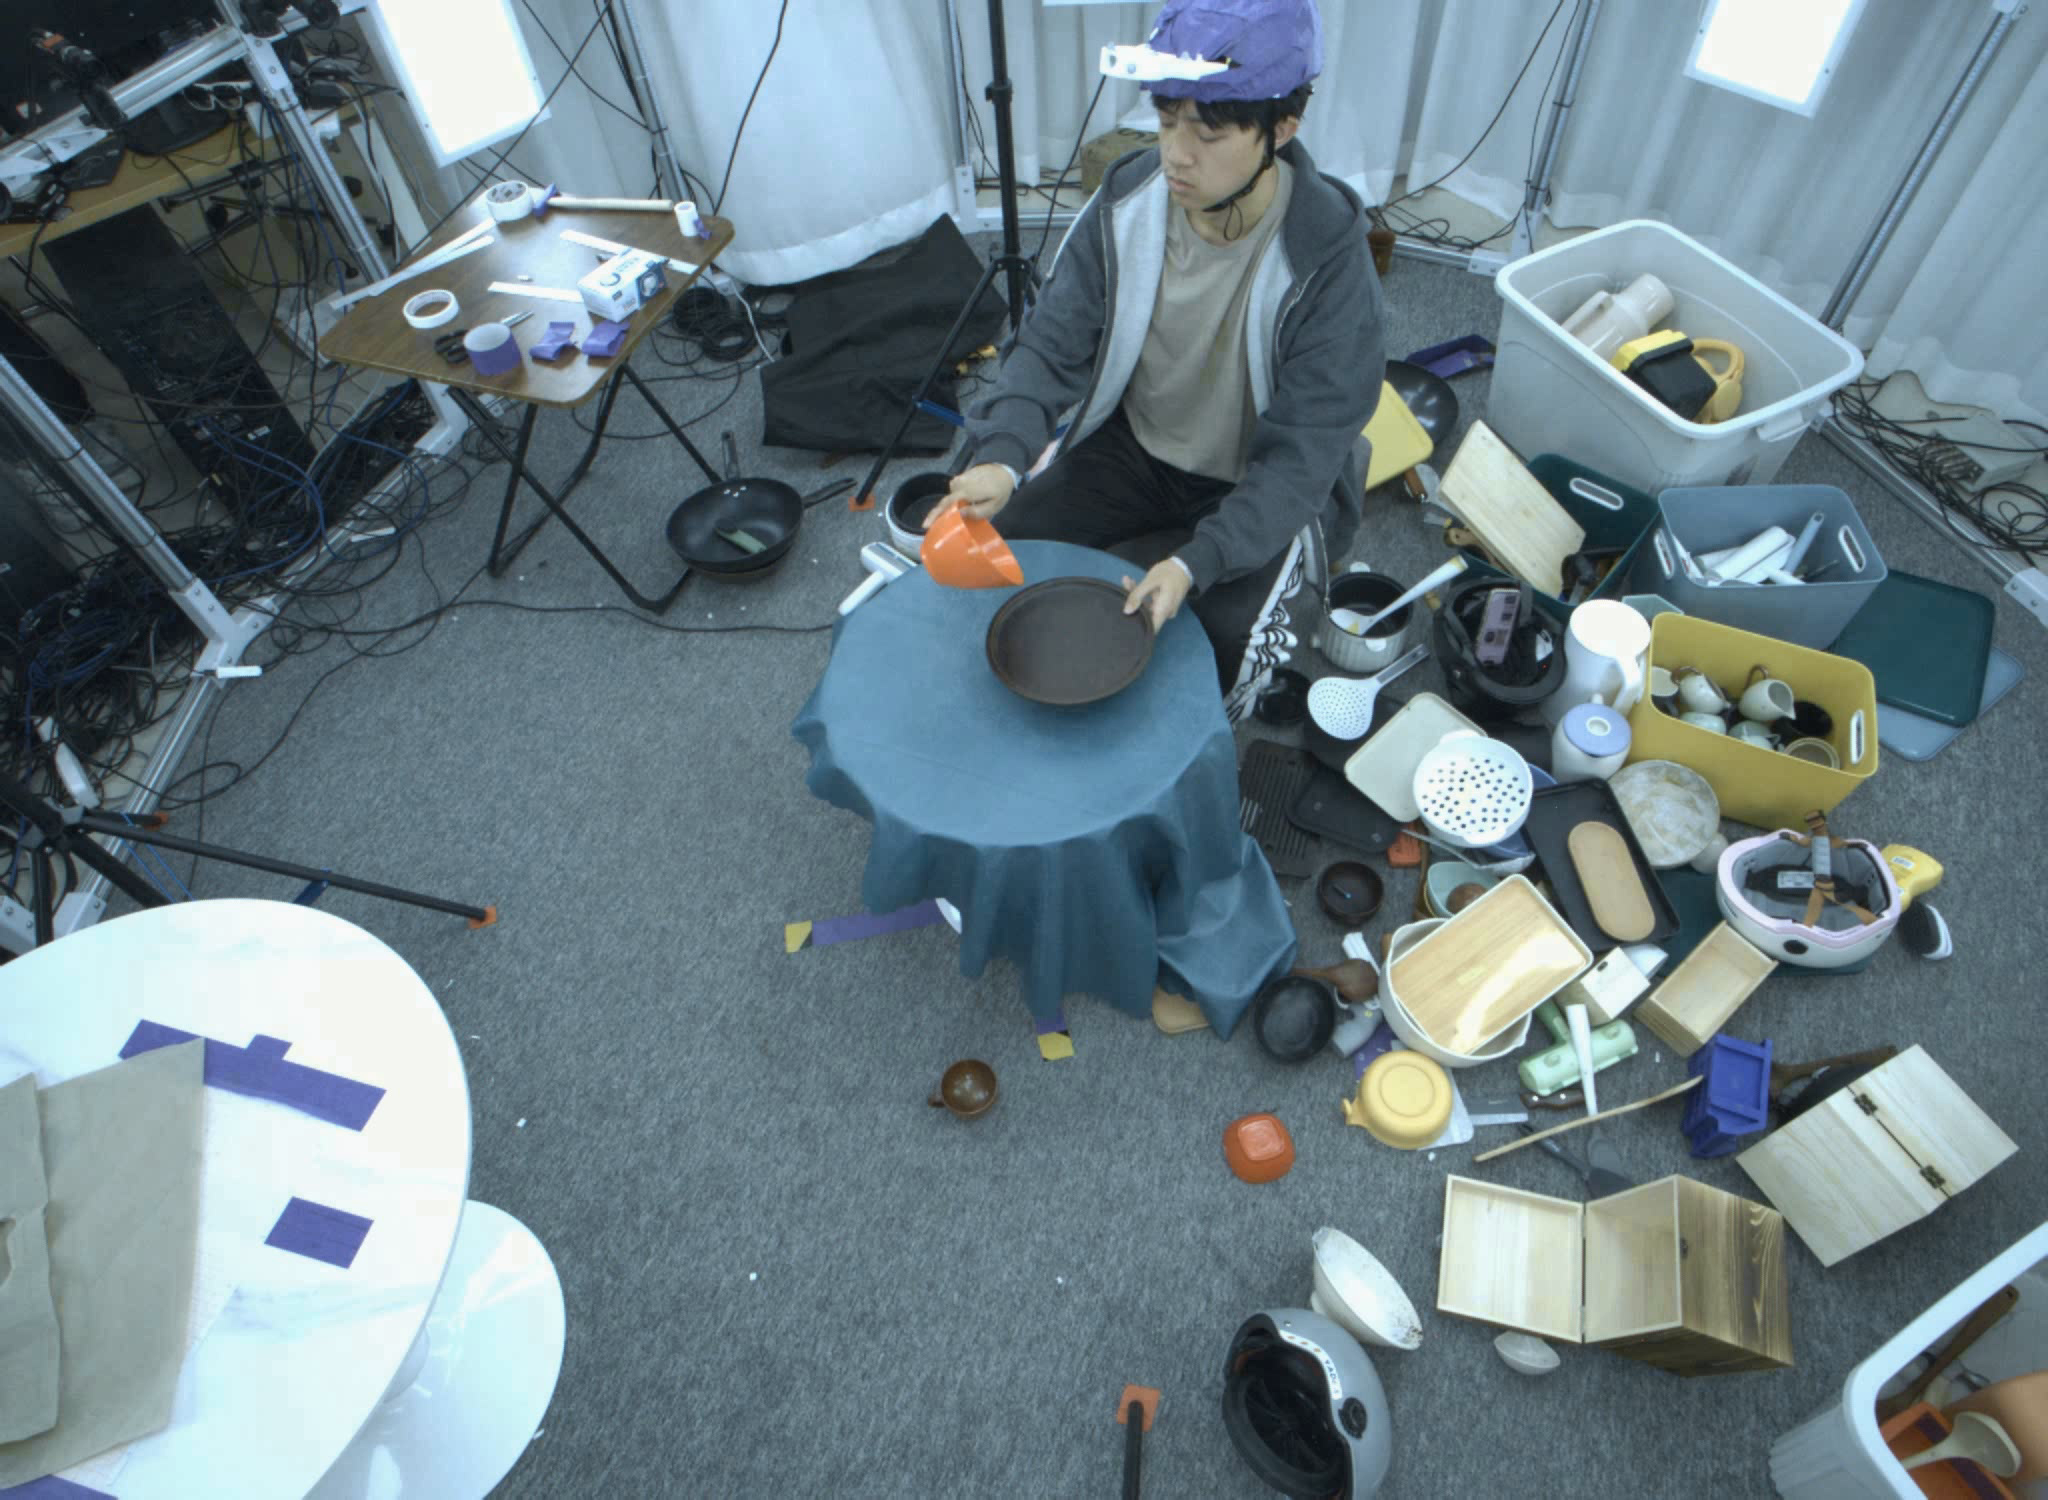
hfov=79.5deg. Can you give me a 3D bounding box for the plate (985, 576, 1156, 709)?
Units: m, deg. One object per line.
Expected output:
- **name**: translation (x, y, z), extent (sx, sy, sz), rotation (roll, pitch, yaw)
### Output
- **plate**: translation (0.068, -0.161, 1.824), extent (0.254, 0.029, 0.252), rotation (-2, 54, 4)

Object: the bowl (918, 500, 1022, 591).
- **bowl**: translation (-0.084, -0.271, 1.718), extent (0.103, 0.151, 0.146), rotation (-25, 53, 20)
